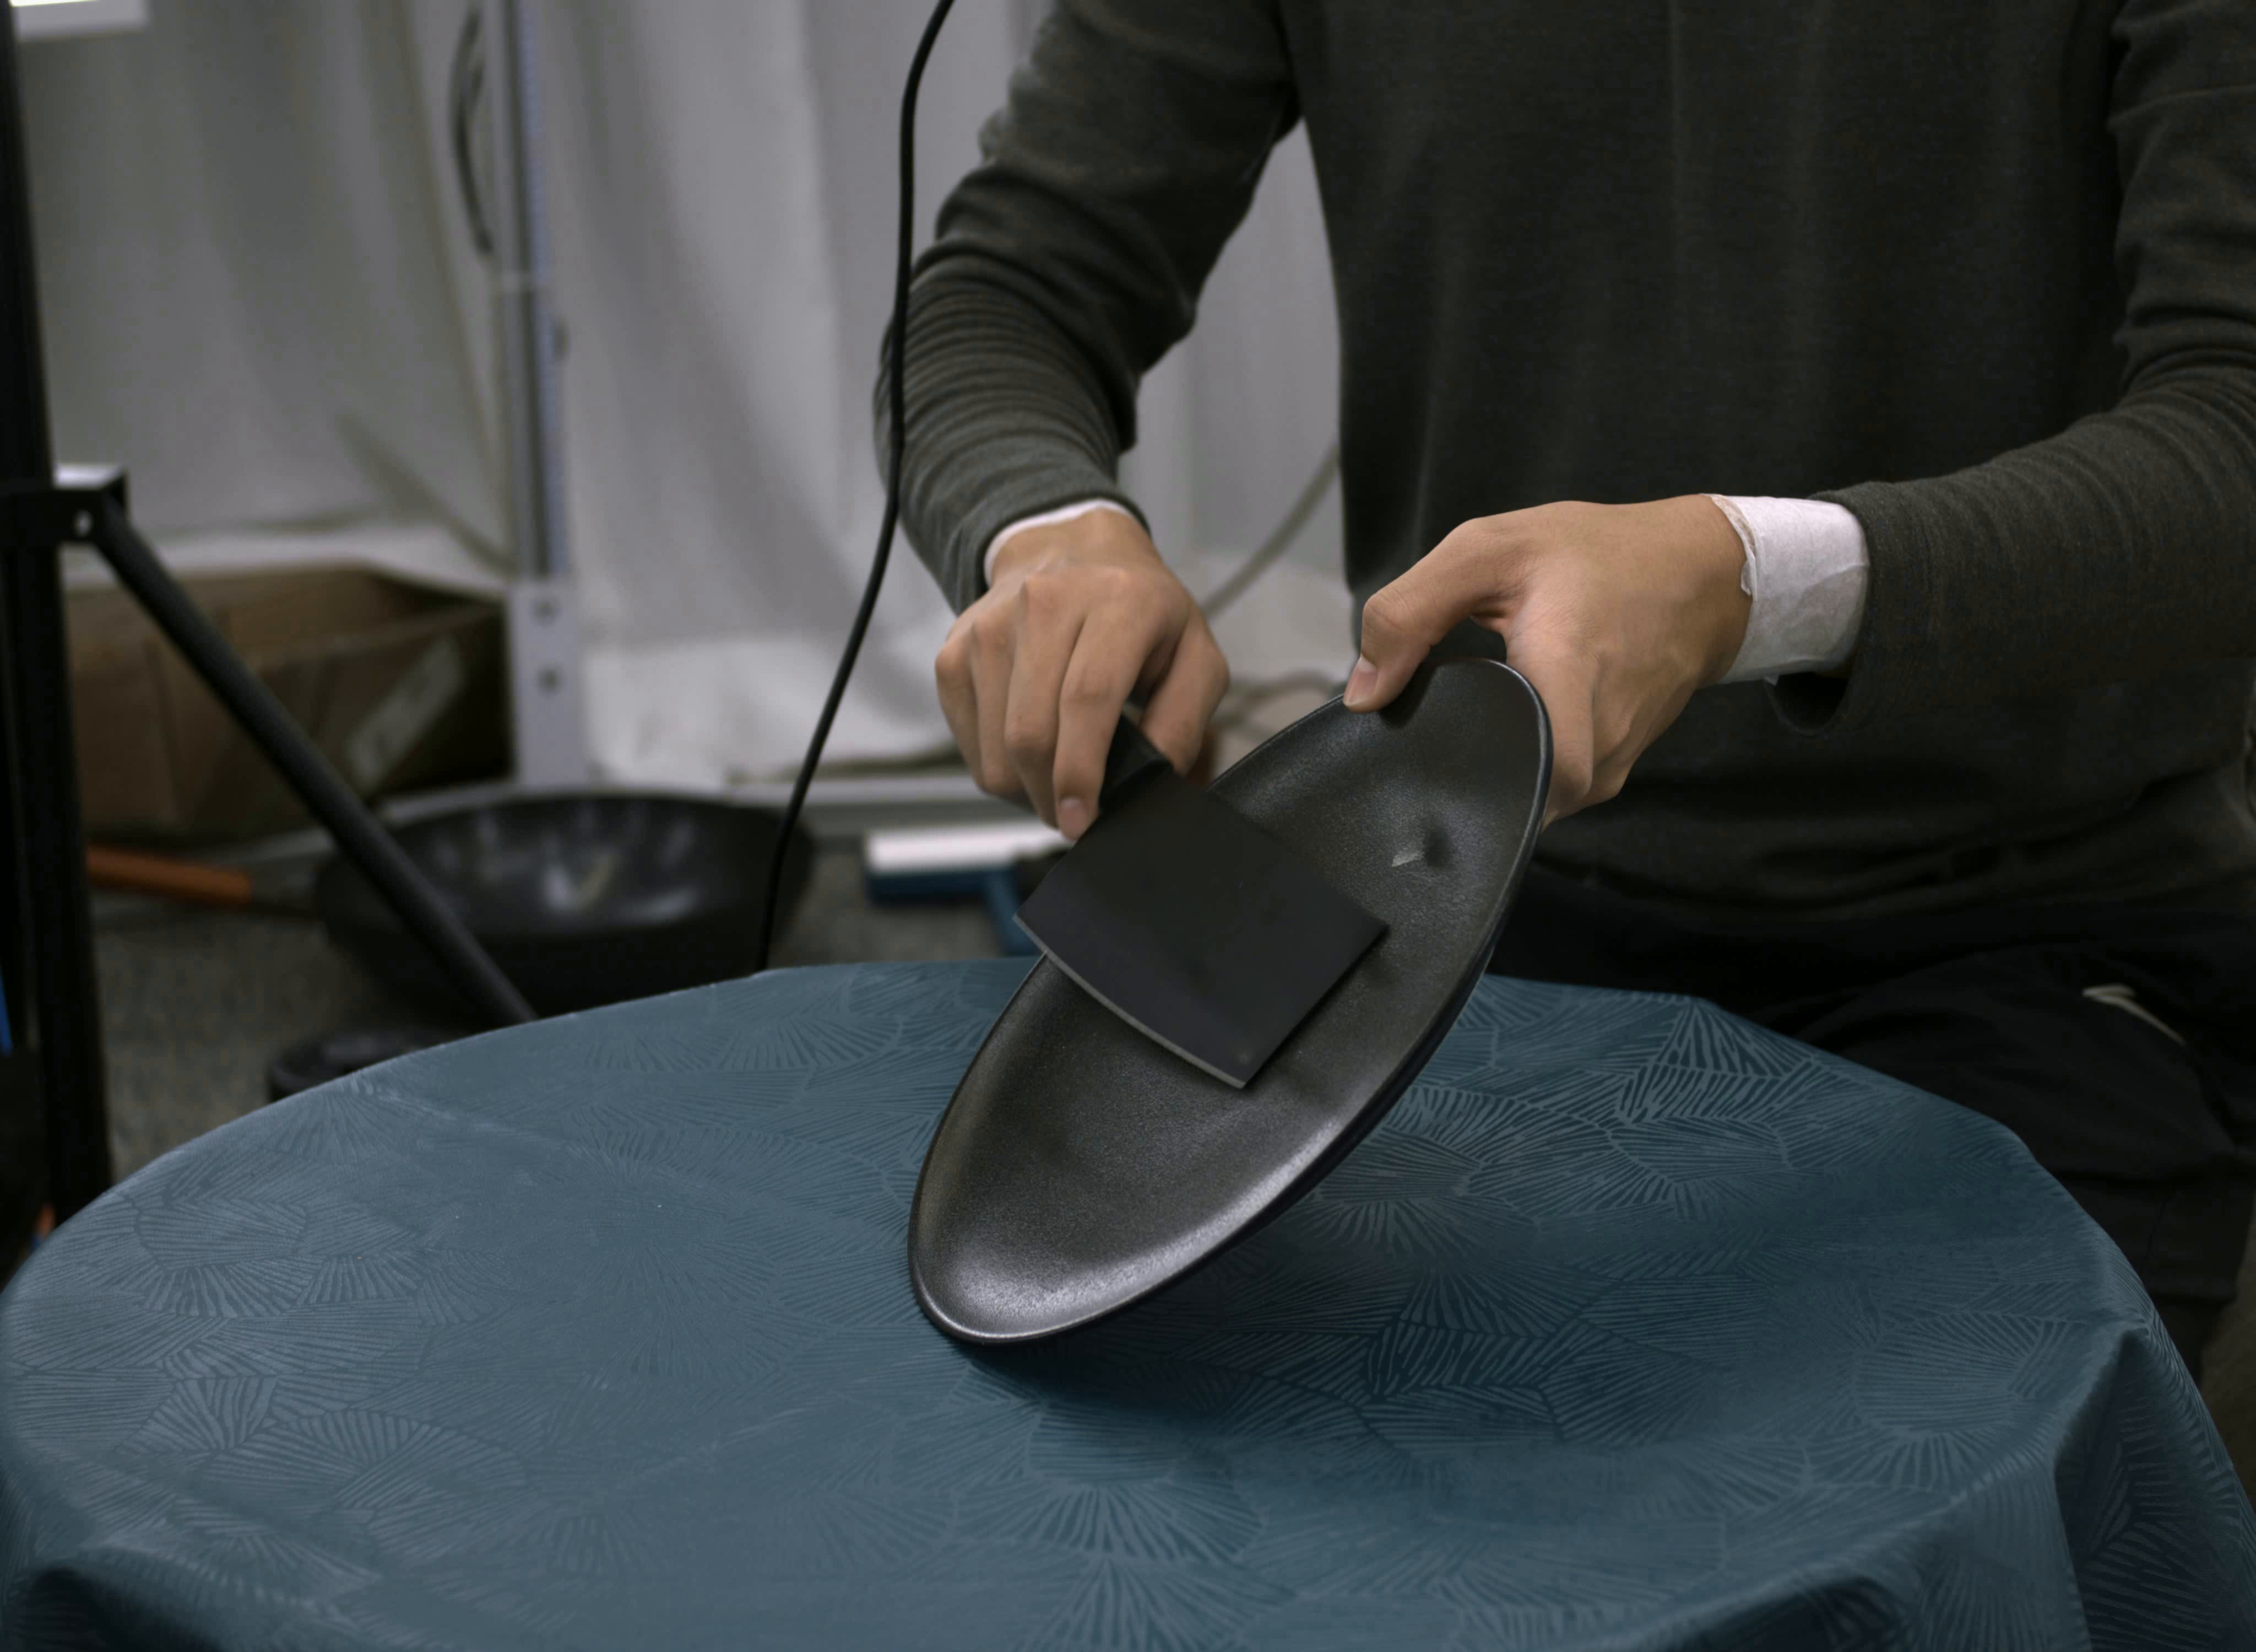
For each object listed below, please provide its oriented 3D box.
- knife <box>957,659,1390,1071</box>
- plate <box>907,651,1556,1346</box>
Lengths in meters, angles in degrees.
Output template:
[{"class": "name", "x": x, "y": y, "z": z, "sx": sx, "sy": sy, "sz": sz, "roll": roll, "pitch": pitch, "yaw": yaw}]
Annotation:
[{"class": "knife", "x": 0.002, "y": 0.006, "z": 1.583, "sx": 0.081, "sy": 0.020, "sz": 0.307, "roll": -47, "pitch": 25, "yaw": 1}, {"class": "plate", "x": 0.032, "y": 0.052, "z": 1.473, "sx": 0.246, "sy": 0.023, "sz": 0.246, "roll": -41, "pitch": 22, "yaw": 18}]
